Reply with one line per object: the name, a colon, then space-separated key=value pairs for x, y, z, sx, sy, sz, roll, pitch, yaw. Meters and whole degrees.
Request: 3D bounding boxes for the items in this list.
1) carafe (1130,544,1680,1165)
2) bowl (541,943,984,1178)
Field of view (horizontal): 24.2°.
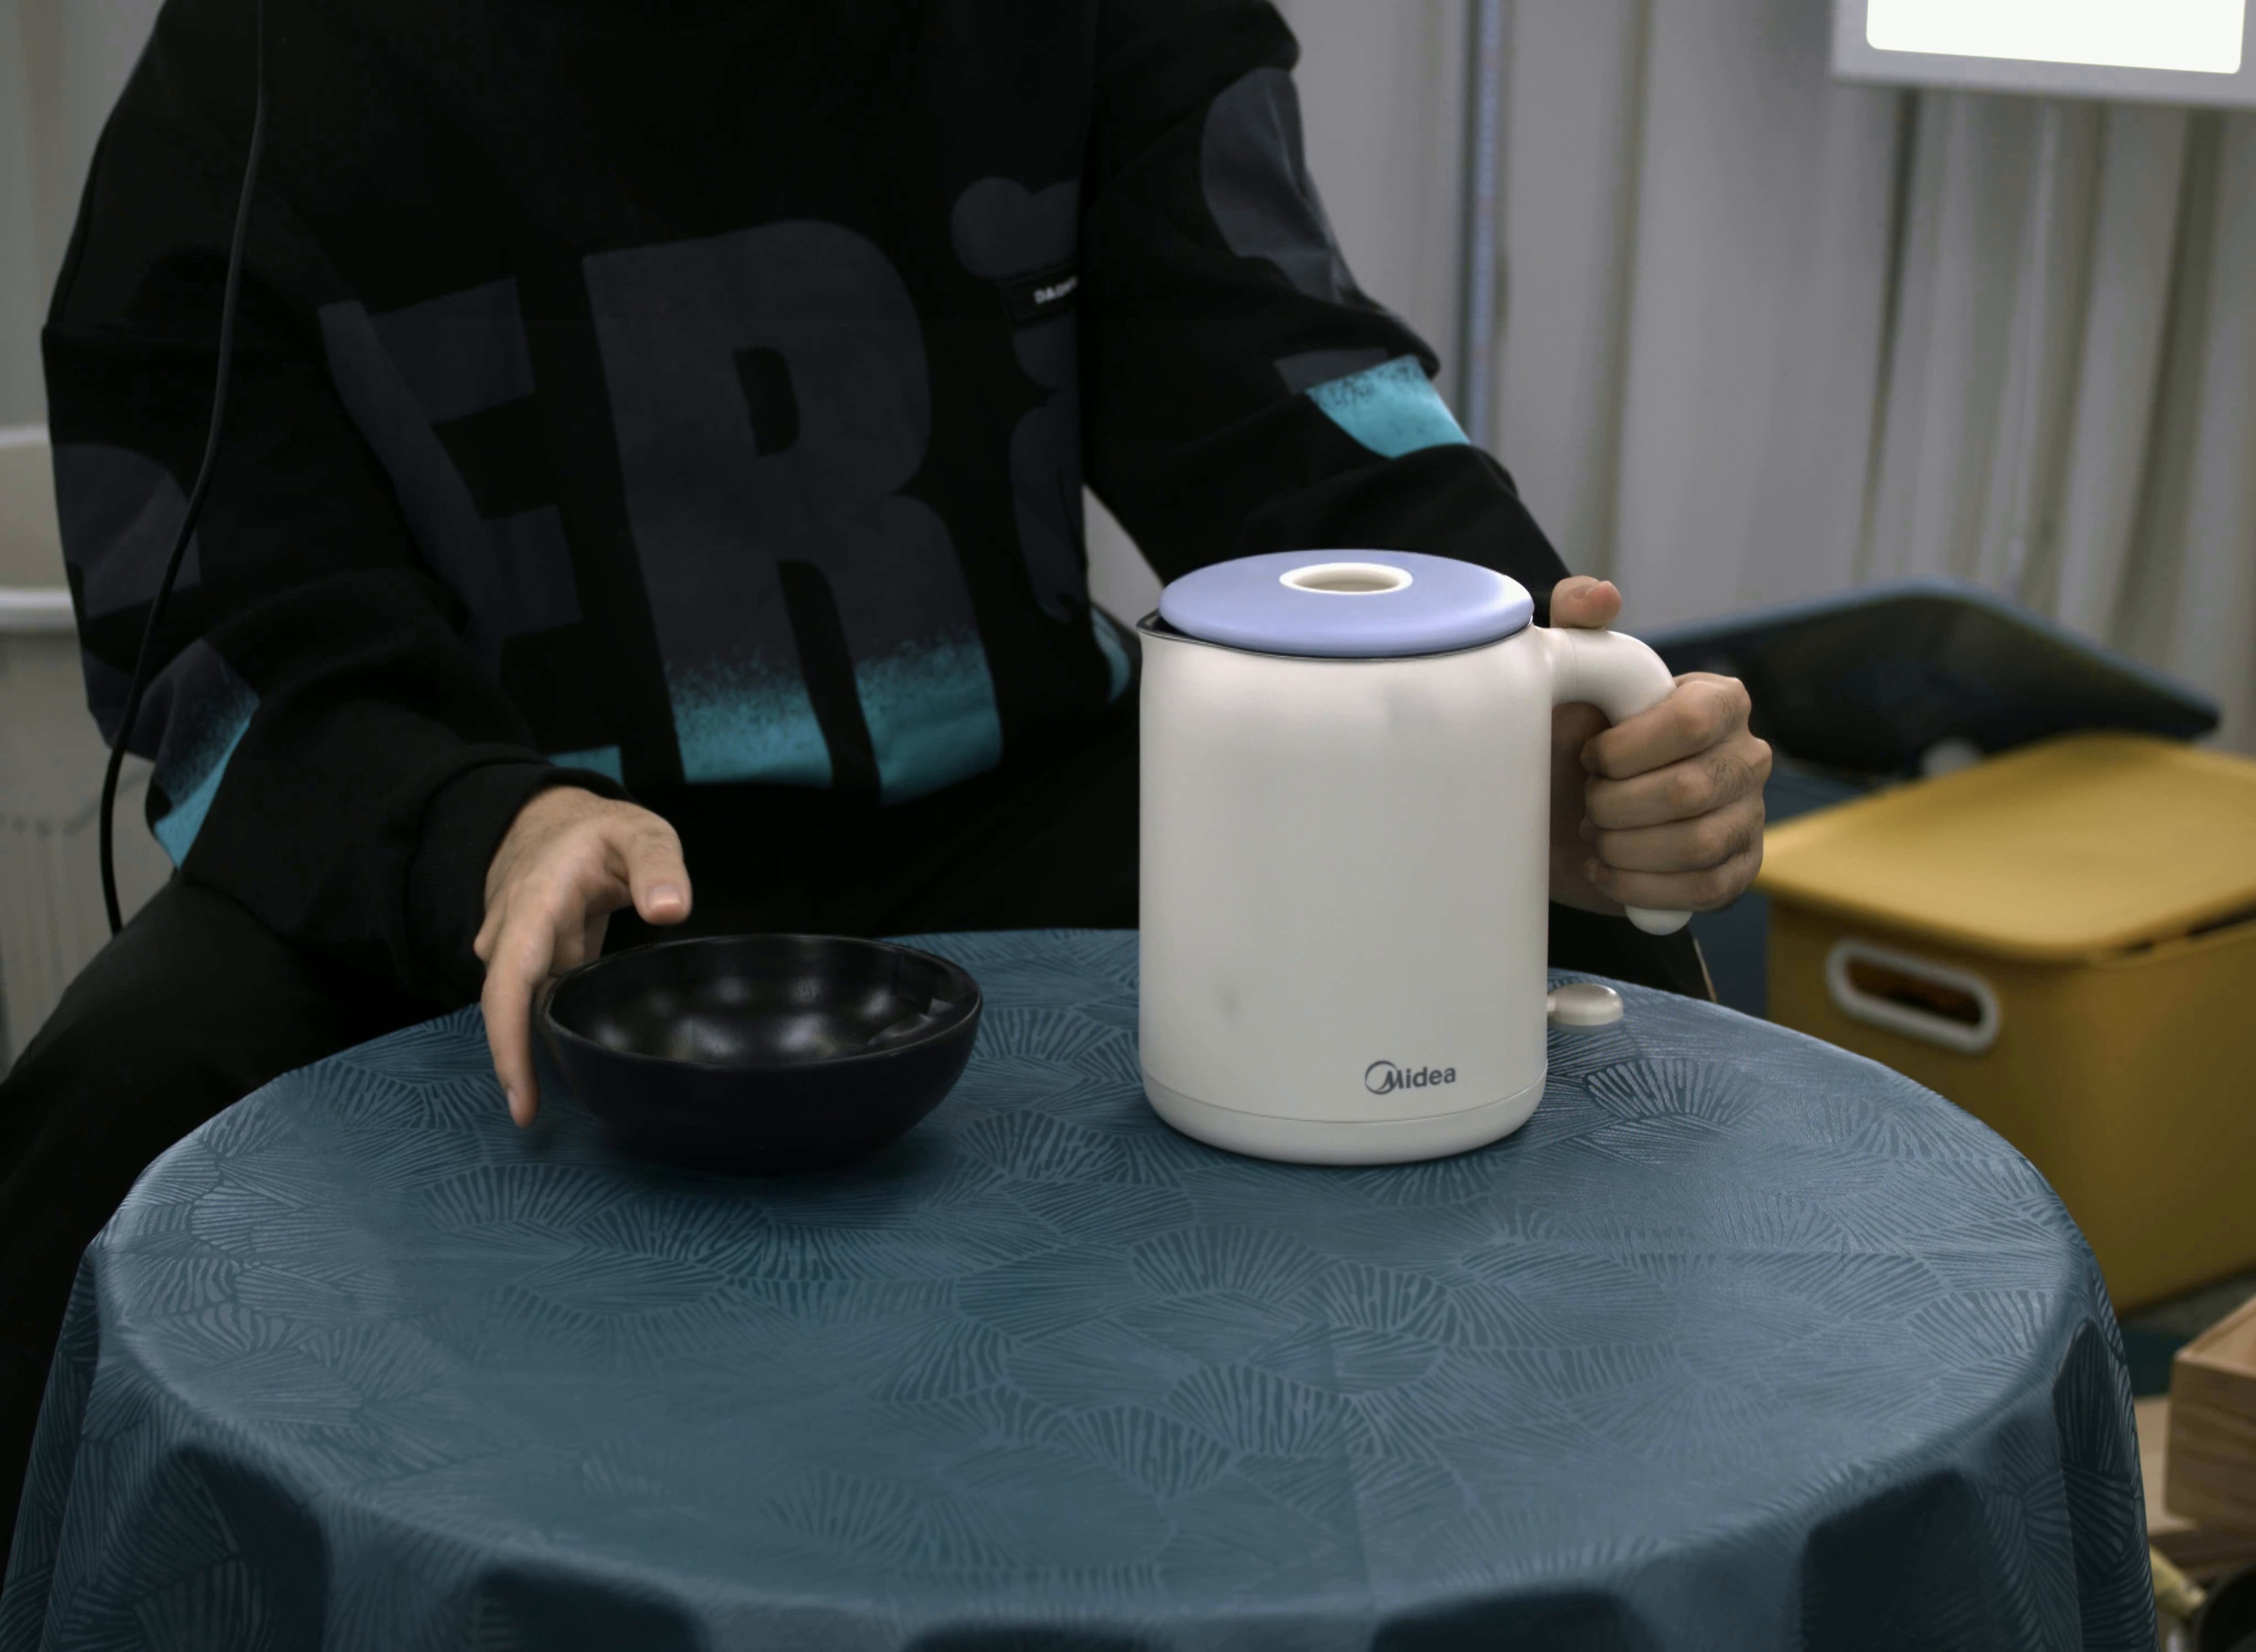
carafe: x=0.091 y=0.007 z=1.683 sx=0.191 sy=0.184 sz=0.131 roll=-3 pitch=17 yaw=-19
bowl: x=-0.114 y=0.077 z=1.652 sx=0.139 sy=0.050 sz=0.139 roll=0 pitch=13 yaw=1
